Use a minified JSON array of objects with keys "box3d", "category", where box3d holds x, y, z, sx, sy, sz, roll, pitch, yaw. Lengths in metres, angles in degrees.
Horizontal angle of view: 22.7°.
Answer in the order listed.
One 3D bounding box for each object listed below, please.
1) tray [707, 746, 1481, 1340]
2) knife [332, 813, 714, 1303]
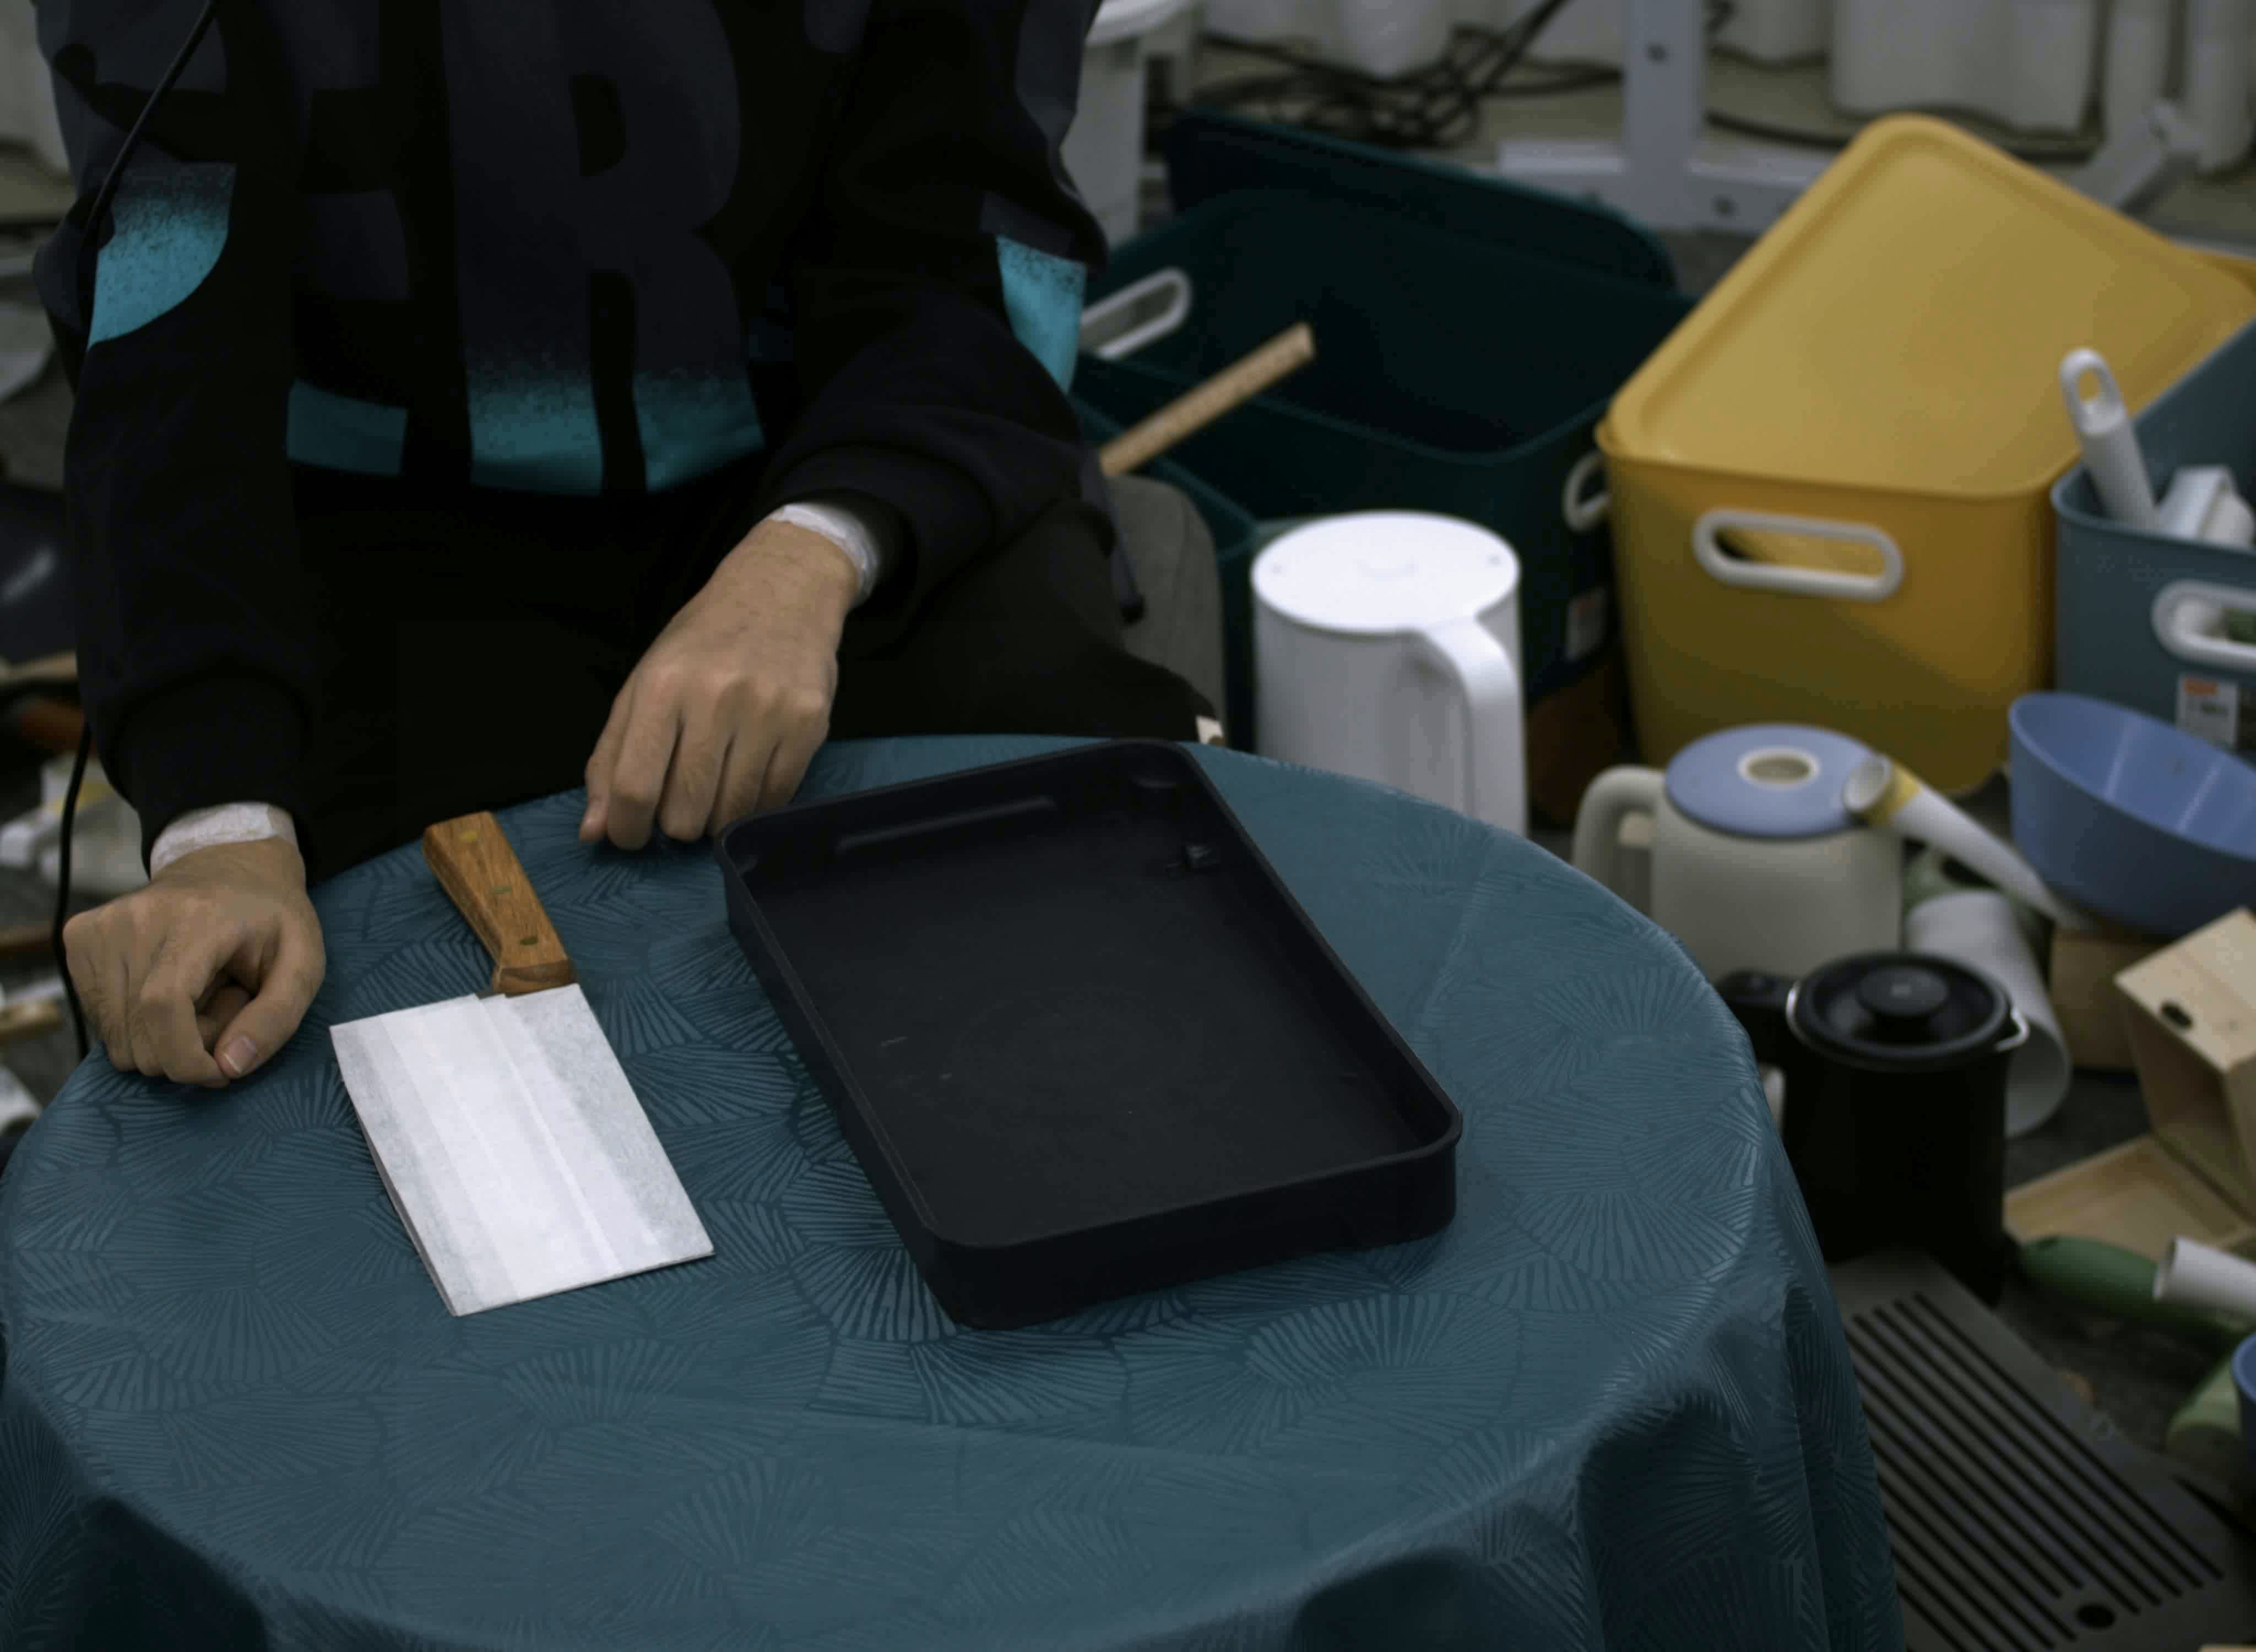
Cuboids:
[{"box3d":[-0.018,0.068,1.929,0.184,0.036,0.320,-12,29,-16],"category":"tray"},{"box3d":[-0.225,0.080,1.950,0.093,0.021,0.309,-13,31,-15],"category":"knife"}]
